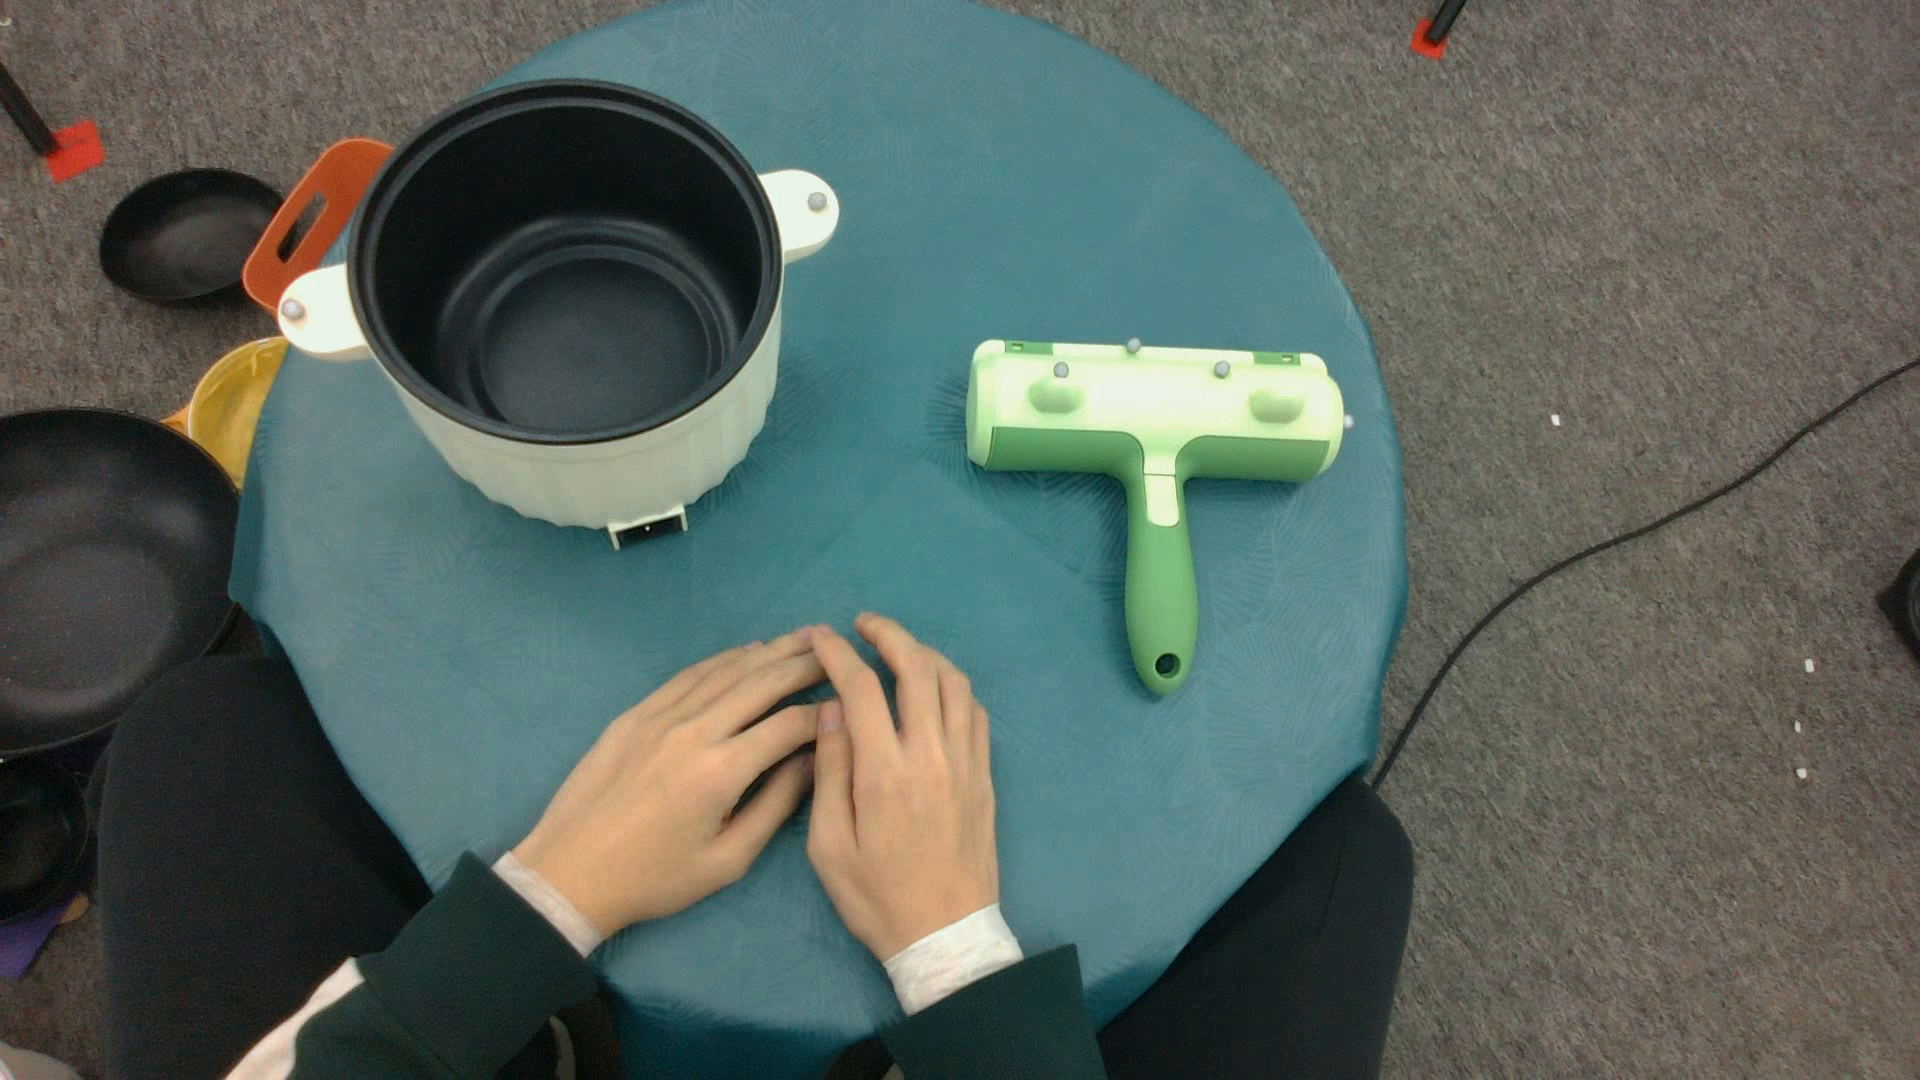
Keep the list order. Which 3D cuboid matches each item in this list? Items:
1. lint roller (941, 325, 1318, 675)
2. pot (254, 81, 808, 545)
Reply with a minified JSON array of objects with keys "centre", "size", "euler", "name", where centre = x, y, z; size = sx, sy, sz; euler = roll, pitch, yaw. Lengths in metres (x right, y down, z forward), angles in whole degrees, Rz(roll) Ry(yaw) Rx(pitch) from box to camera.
[{"centre":[0.093,-0.029,0.701],"size":[0.199,0.082,0.184],"euler":[1,64,-8],"name":"lint roller"},{"centre":[-0.192,-0.106,0.656],"size":[0.241,0.142,0.191],"euler":[-18,76,-16],"name":"pot"}]
